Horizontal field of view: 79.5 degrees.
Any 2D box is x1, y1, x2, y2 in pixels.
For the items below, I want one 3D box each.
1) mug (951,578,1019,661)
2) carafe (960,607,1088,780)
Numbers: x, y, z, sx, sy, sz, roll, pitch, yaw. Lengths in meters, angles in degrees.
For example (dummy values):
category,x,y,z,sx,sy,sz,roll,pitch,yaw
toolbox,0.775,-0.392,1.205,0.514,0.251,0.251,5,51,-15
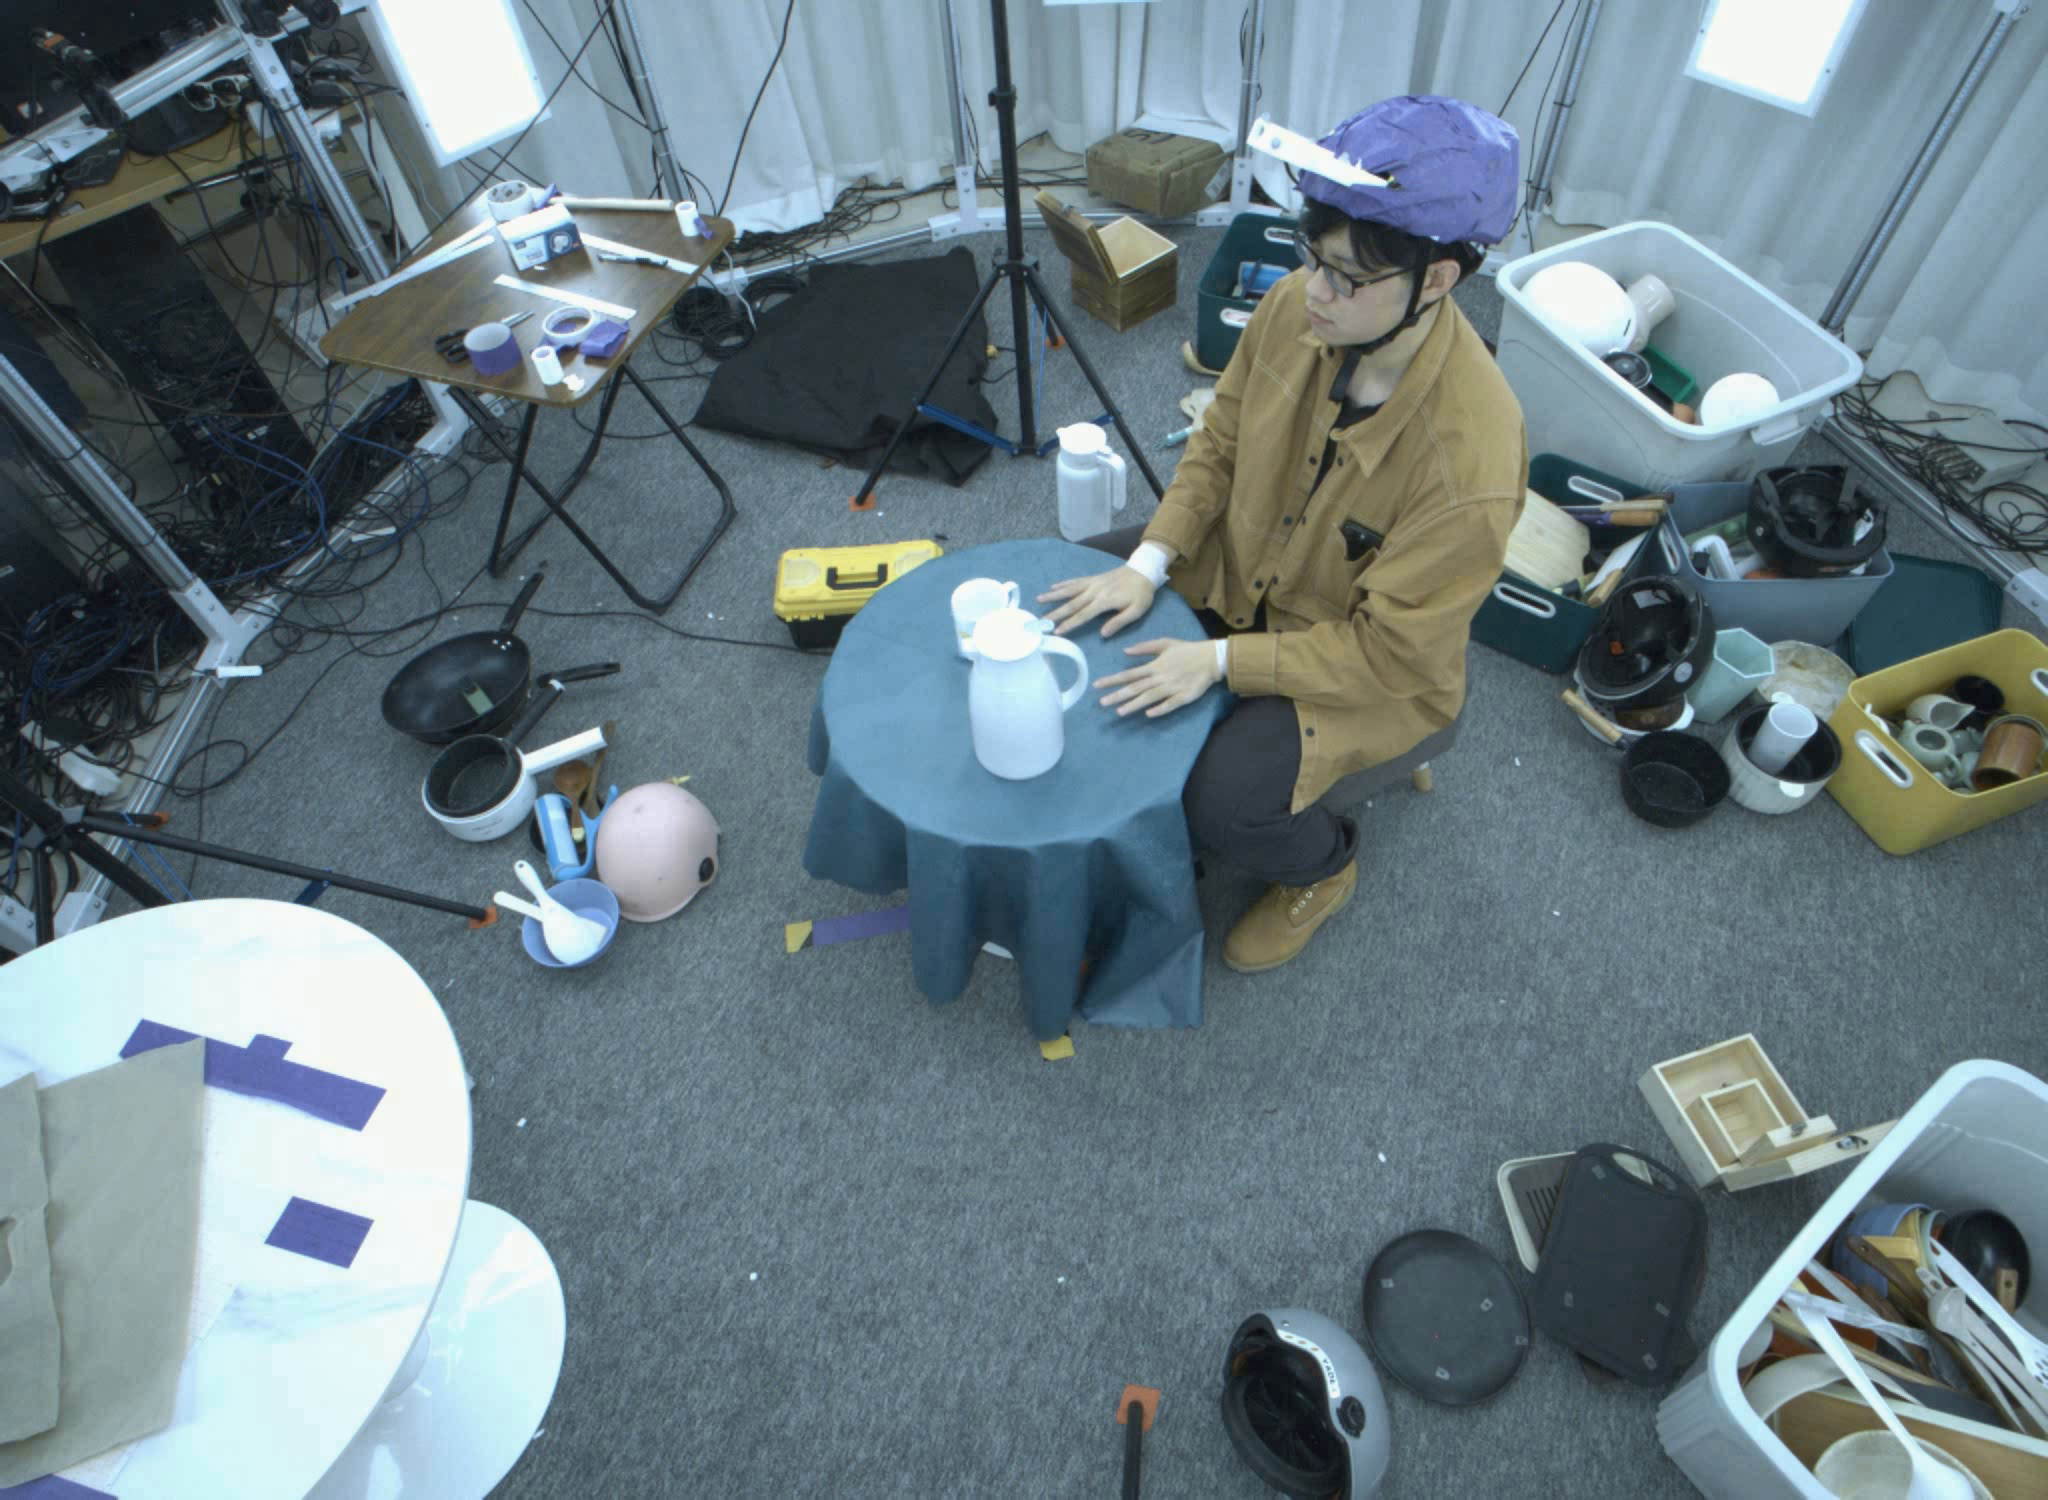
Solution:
category,x,y,z,sx,sy,sz,roll,pitch,yaw
mug,-0.054,-0.205,1.868,0.083,0.103,0.119,35,63,25
carafe,0.004,-0.087,1.691,0.168,0.251,0.131,-7,53,-2
